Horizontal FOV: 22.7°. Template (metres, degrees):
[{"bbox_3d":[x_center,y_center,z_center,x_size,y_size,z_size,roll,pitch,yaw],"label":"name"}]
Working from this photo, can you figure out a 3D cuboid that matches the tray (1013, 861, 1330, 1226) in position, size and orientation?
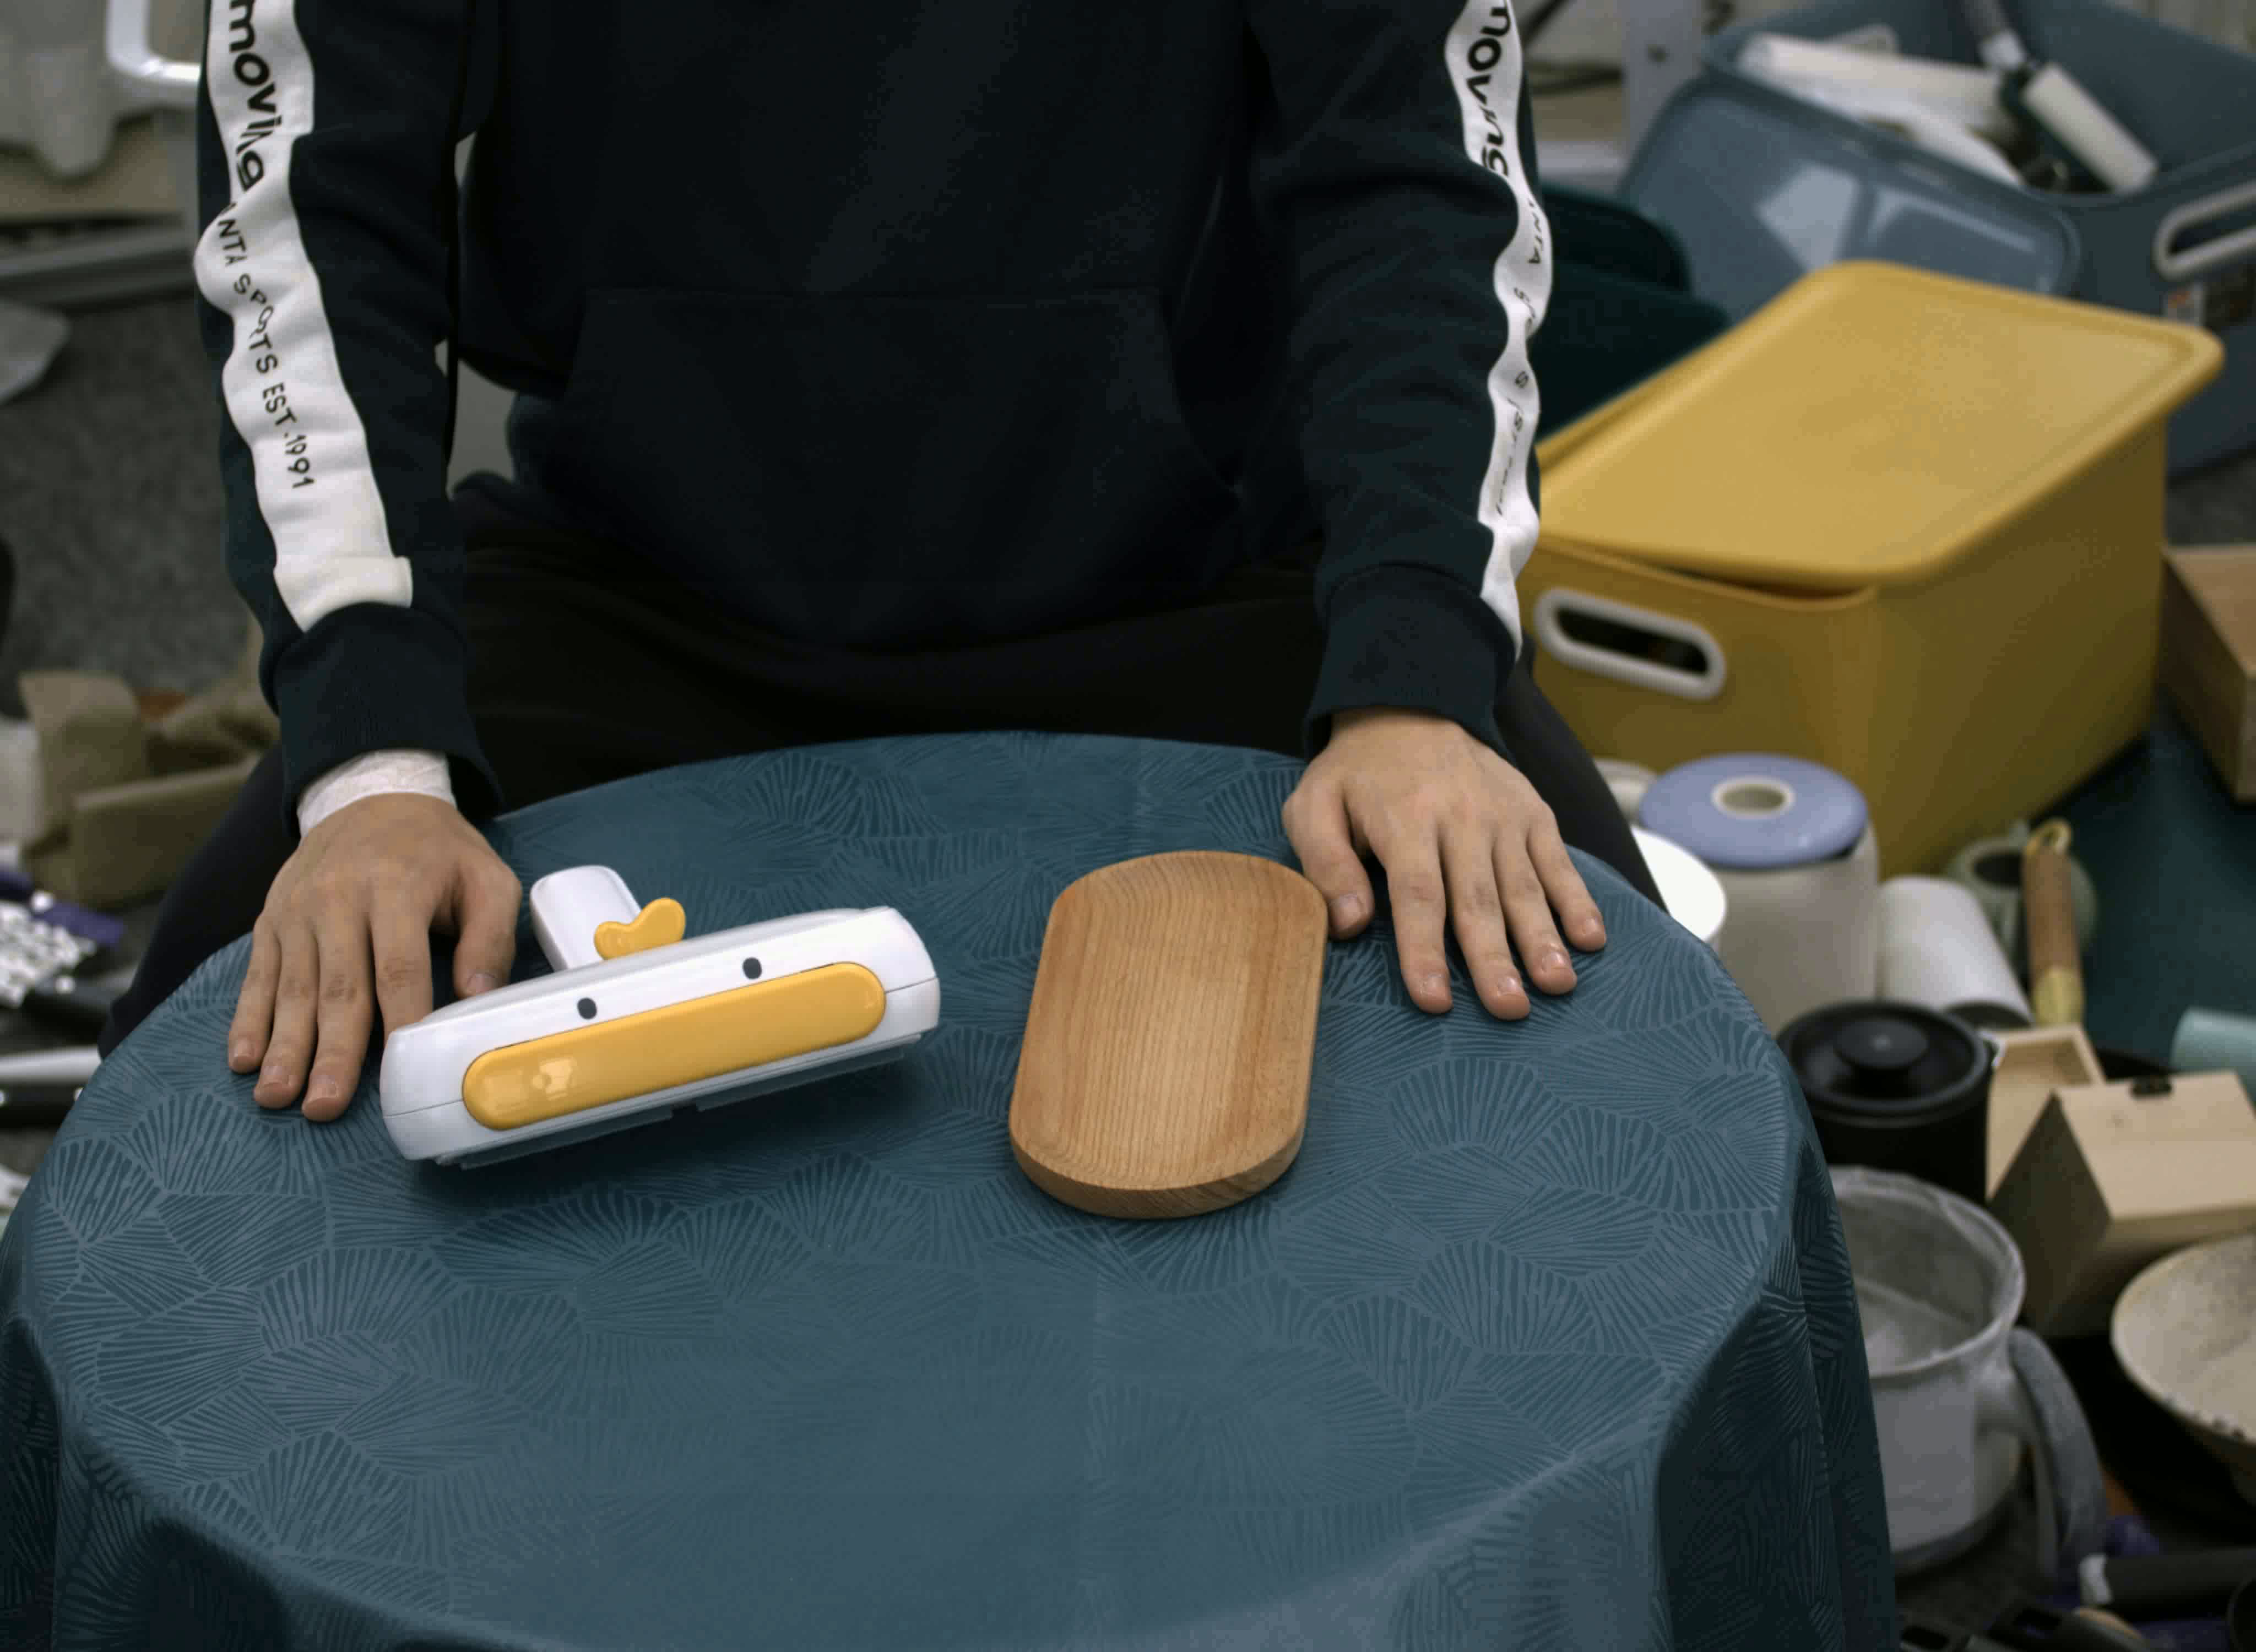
[{"bbox_3d":[0.017,0.072,1.936,0.101,0.020,0.235,-1,29,5],"label":"tray"}]

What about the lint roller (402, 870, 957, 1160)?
[{"bbox_3d":[-0.172,0.055,1.953,0.193,0.074,0.192,-19,11,-16],"label":"lint roller"}]
